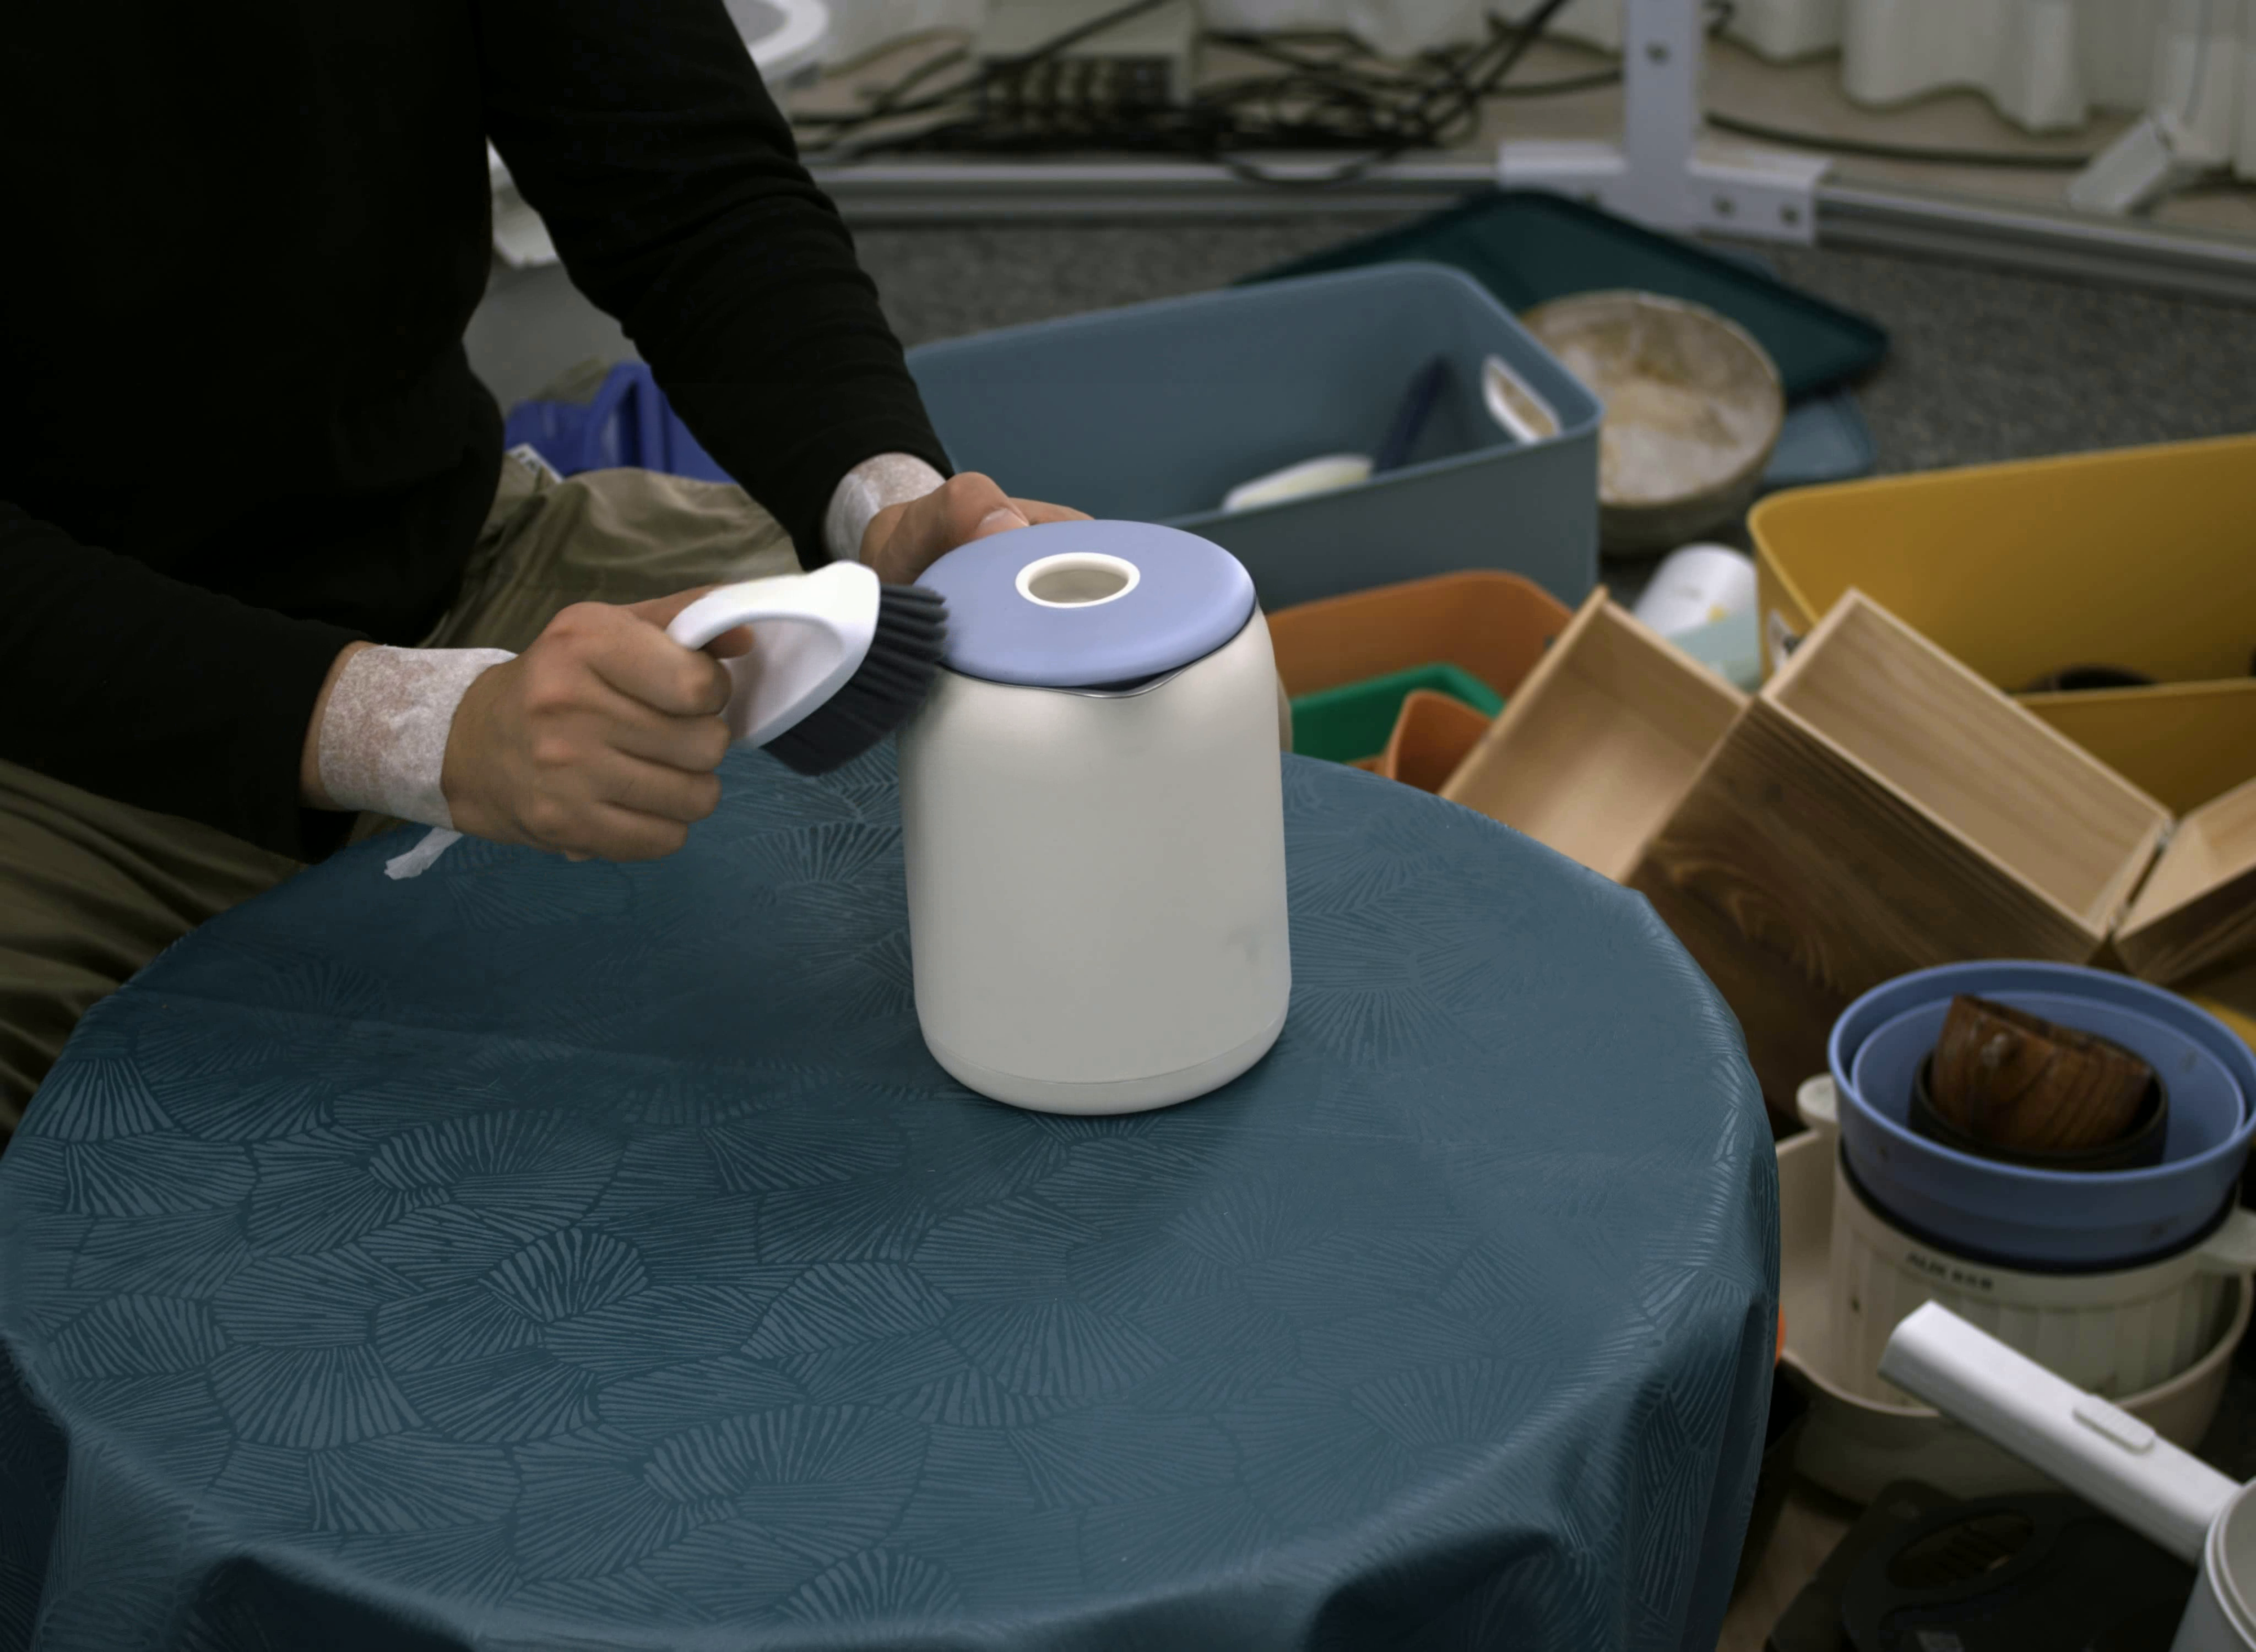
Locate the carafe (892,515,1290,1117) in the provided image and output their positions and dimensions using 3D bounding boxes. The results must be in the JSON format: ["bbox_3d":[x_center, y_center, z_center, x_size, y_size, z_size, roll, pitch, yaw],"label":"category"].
[{"bbox_3d":[-0.020,-0.014,1.942,0.132,0.181,0.193,-10,26,-14],"label":"carafe"}]

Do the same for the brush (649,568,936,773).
[{"bbox_3d":[-0.118,-0.056,1.860,0.072,0.051,0.098,17,-26,-28],"label":"brush"}]
